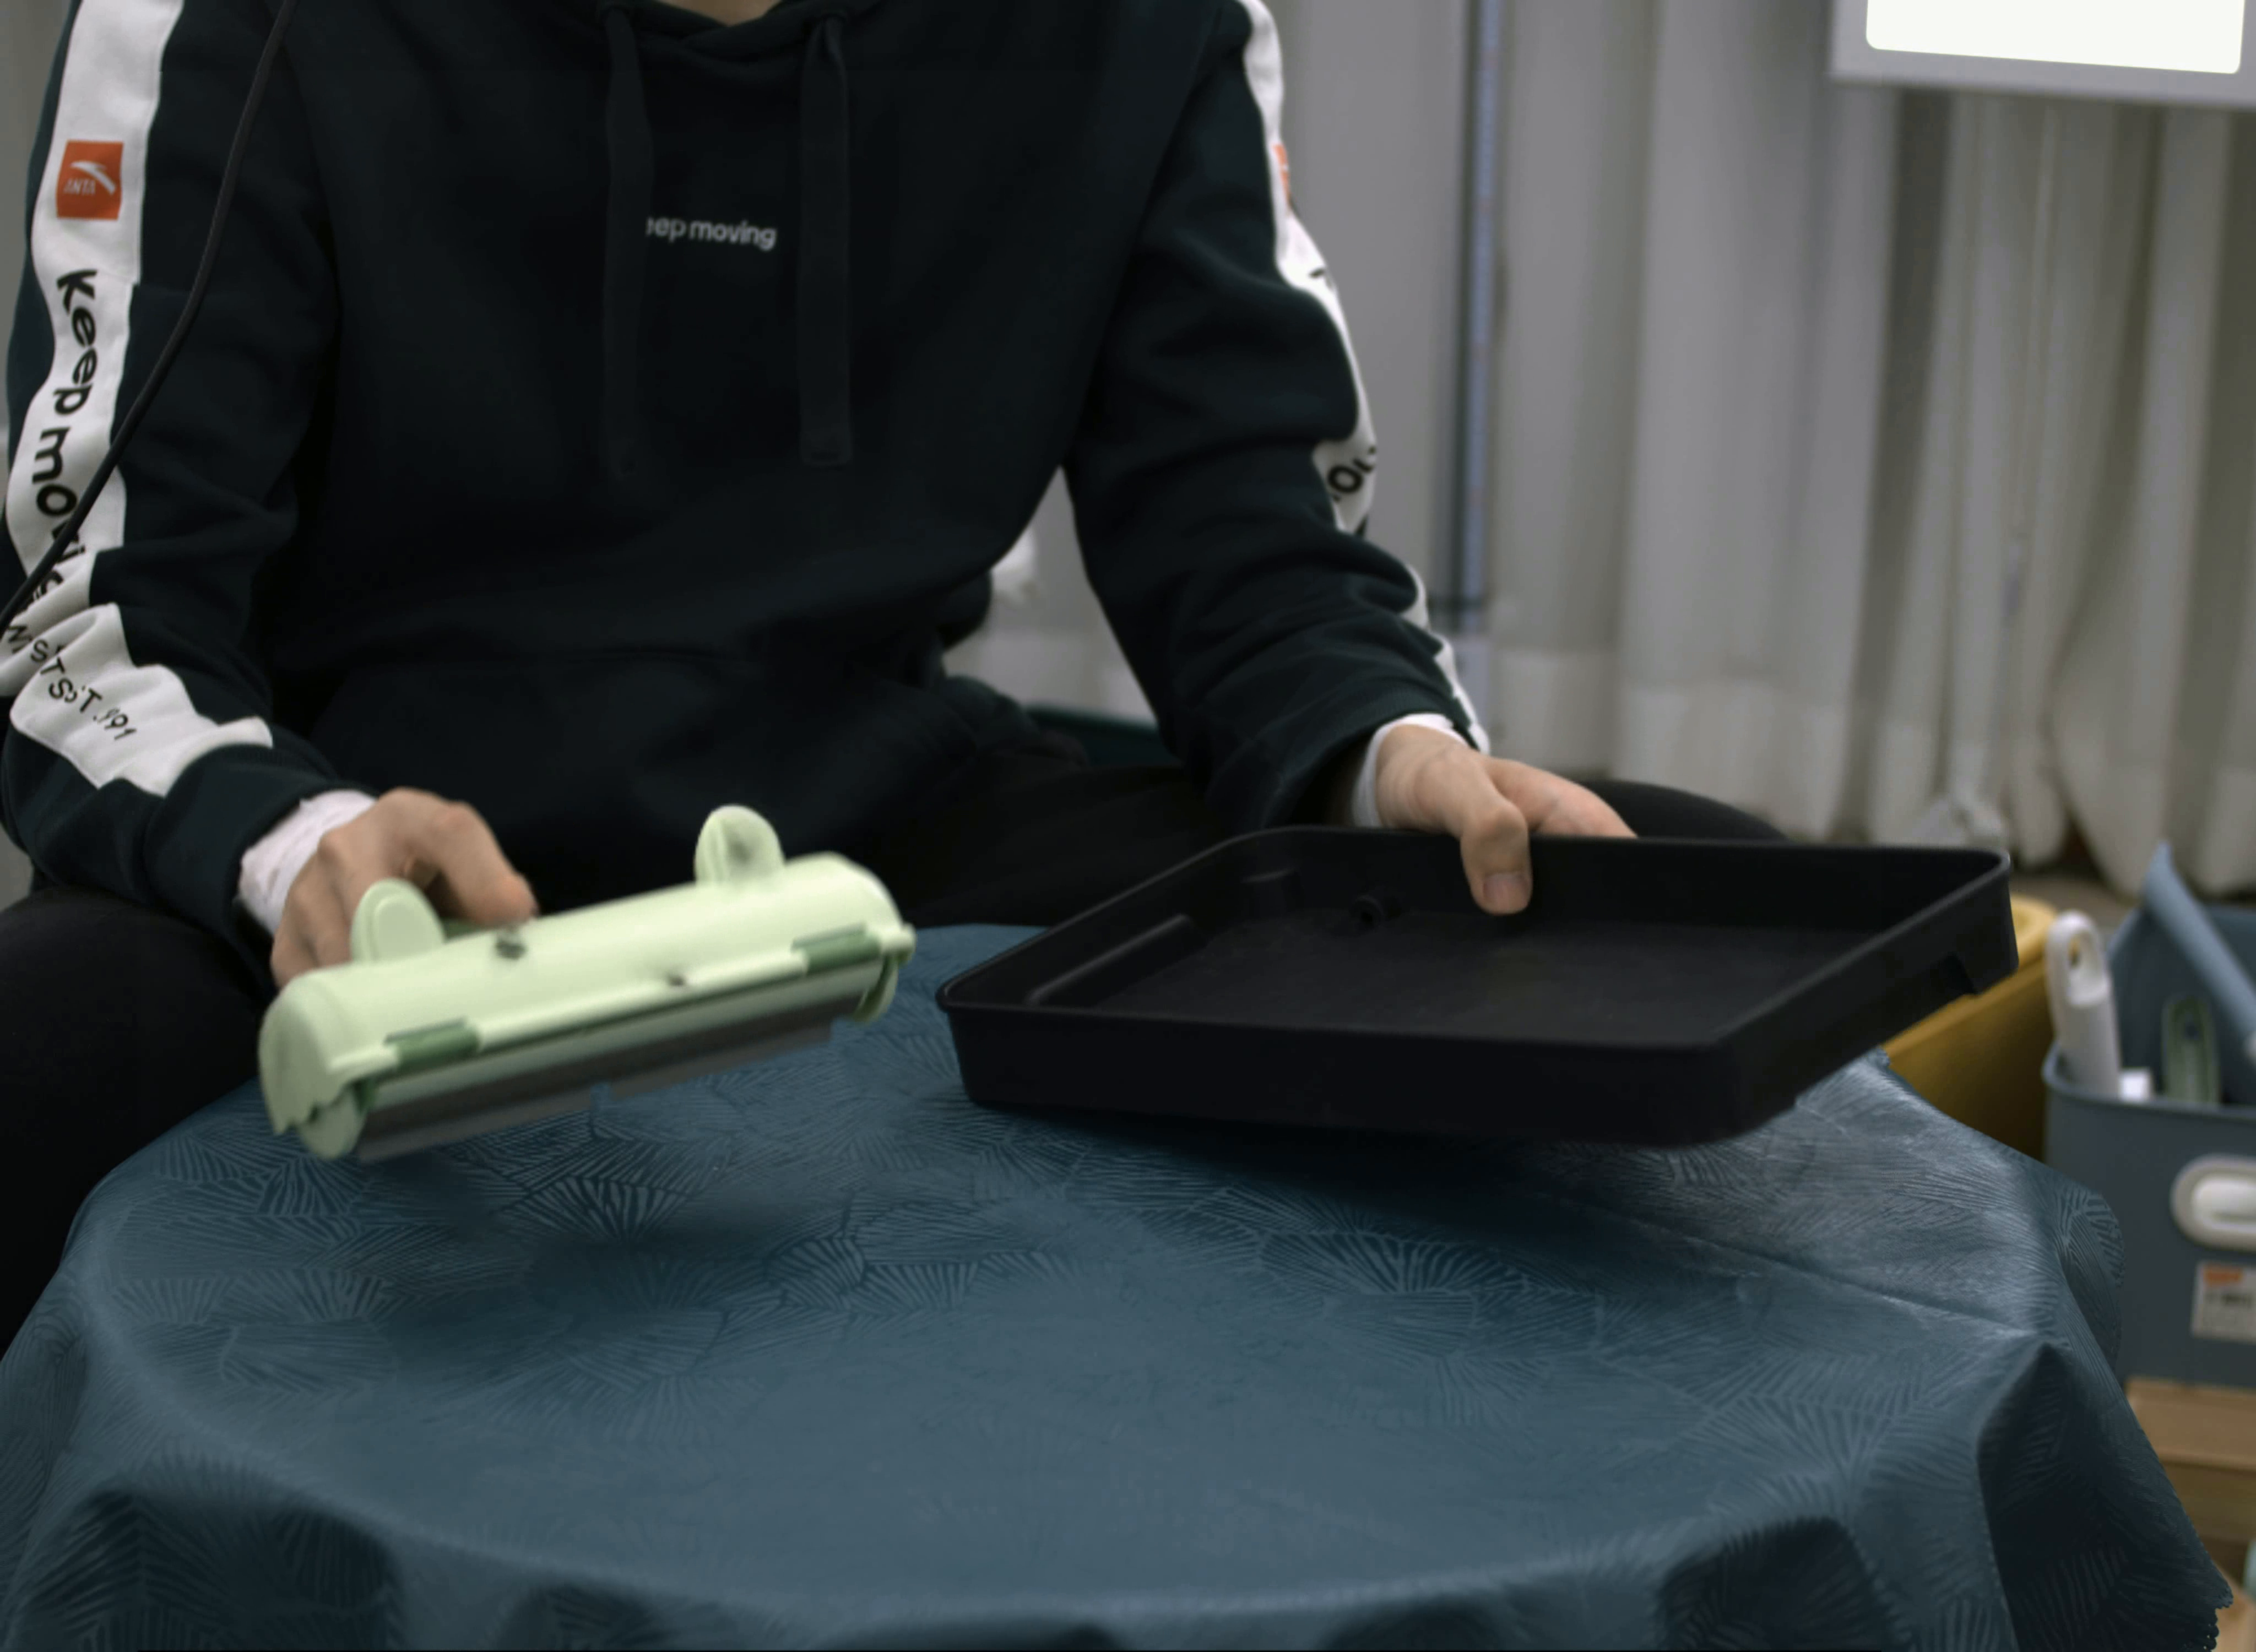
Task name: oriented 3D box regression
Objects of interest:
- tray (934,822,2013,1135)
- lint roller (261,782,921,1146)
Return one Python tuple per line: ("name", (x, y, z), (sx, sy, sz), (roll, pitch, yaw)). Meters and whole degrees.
("tray", (0.106, 0.044, 1.660), (0.314, 0.037, 0.185), (1, 18, 42))
("lint roller", (-0.189, 0.028, 1.590), (0.199, 0.083, 0.181), (-14, 21, -33))
